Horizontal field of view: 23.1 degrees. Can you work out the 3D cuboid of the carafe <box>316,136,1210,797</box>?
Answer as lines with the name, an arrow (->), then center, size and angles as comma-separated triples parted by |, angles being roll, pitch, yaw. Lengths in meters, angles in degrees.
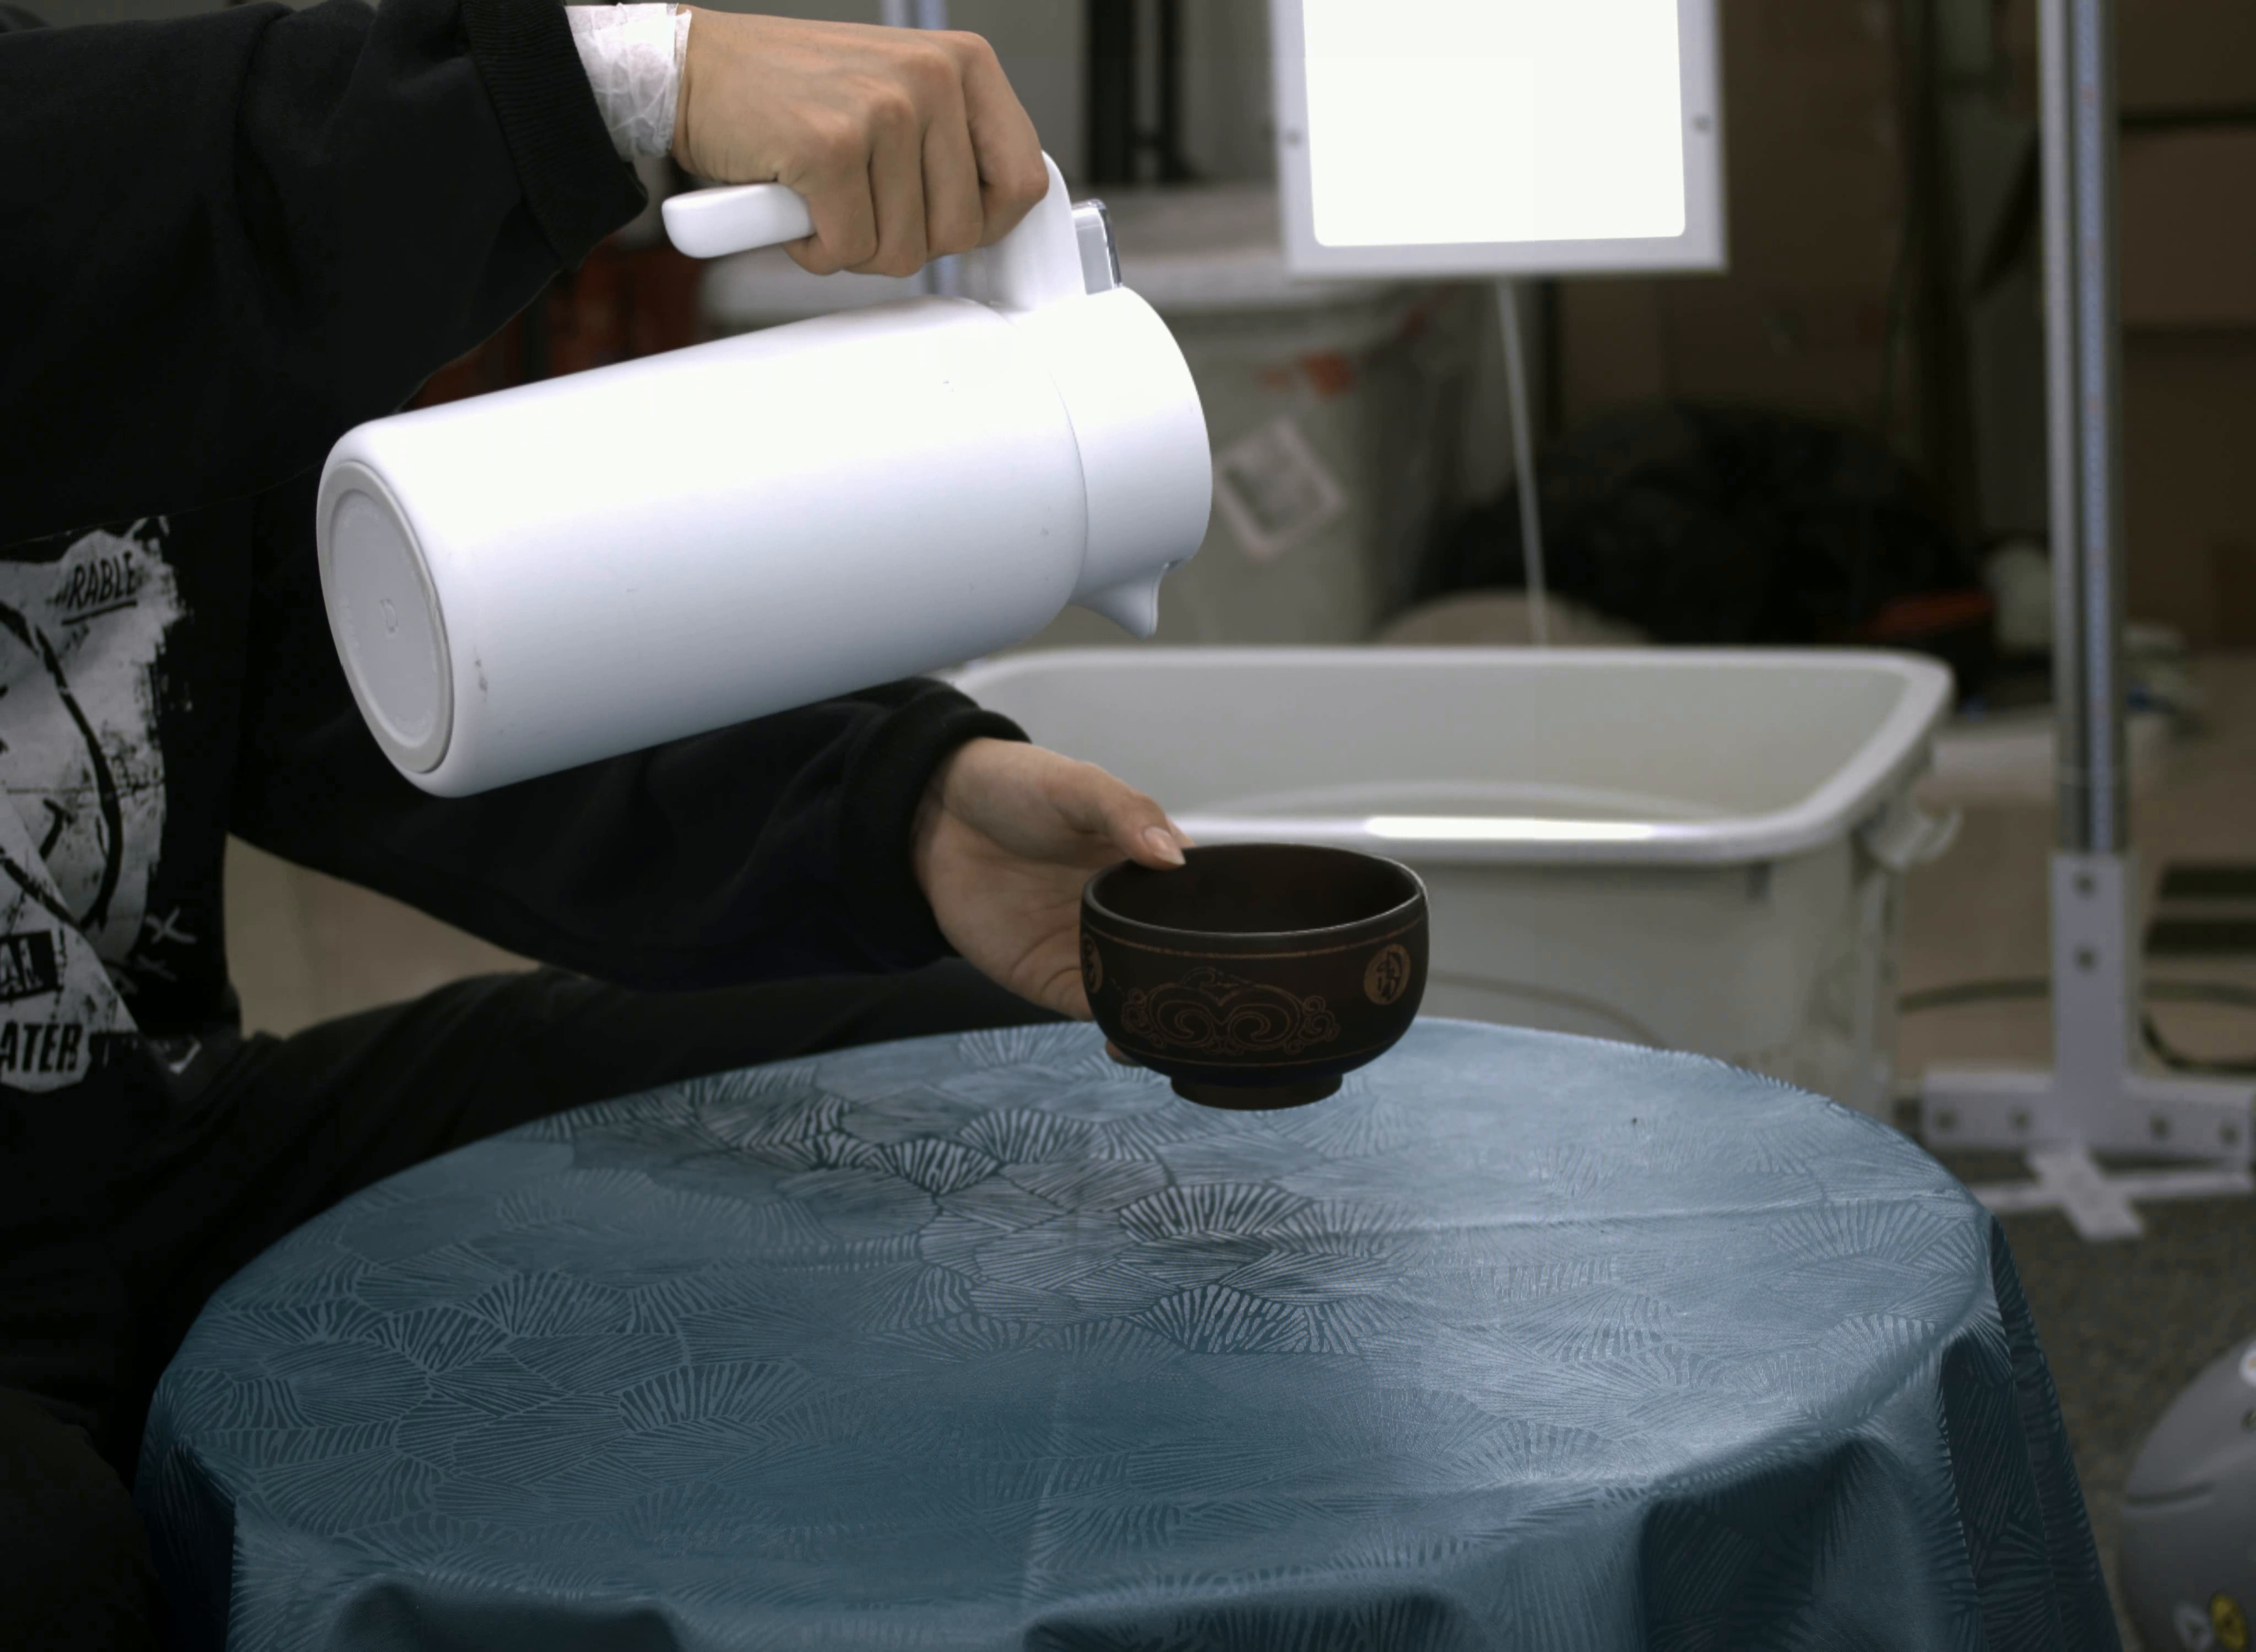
carafe -> -0.114, -0.112, 1.714 | 0.263, 0.173, 0.126 | -16, 15, -23

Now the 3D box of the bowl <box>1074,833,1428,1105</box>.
bowl -> 0.041, 0.051, 1.814 | 0.117, 0.070, 0.118 | -3, 15, -1
